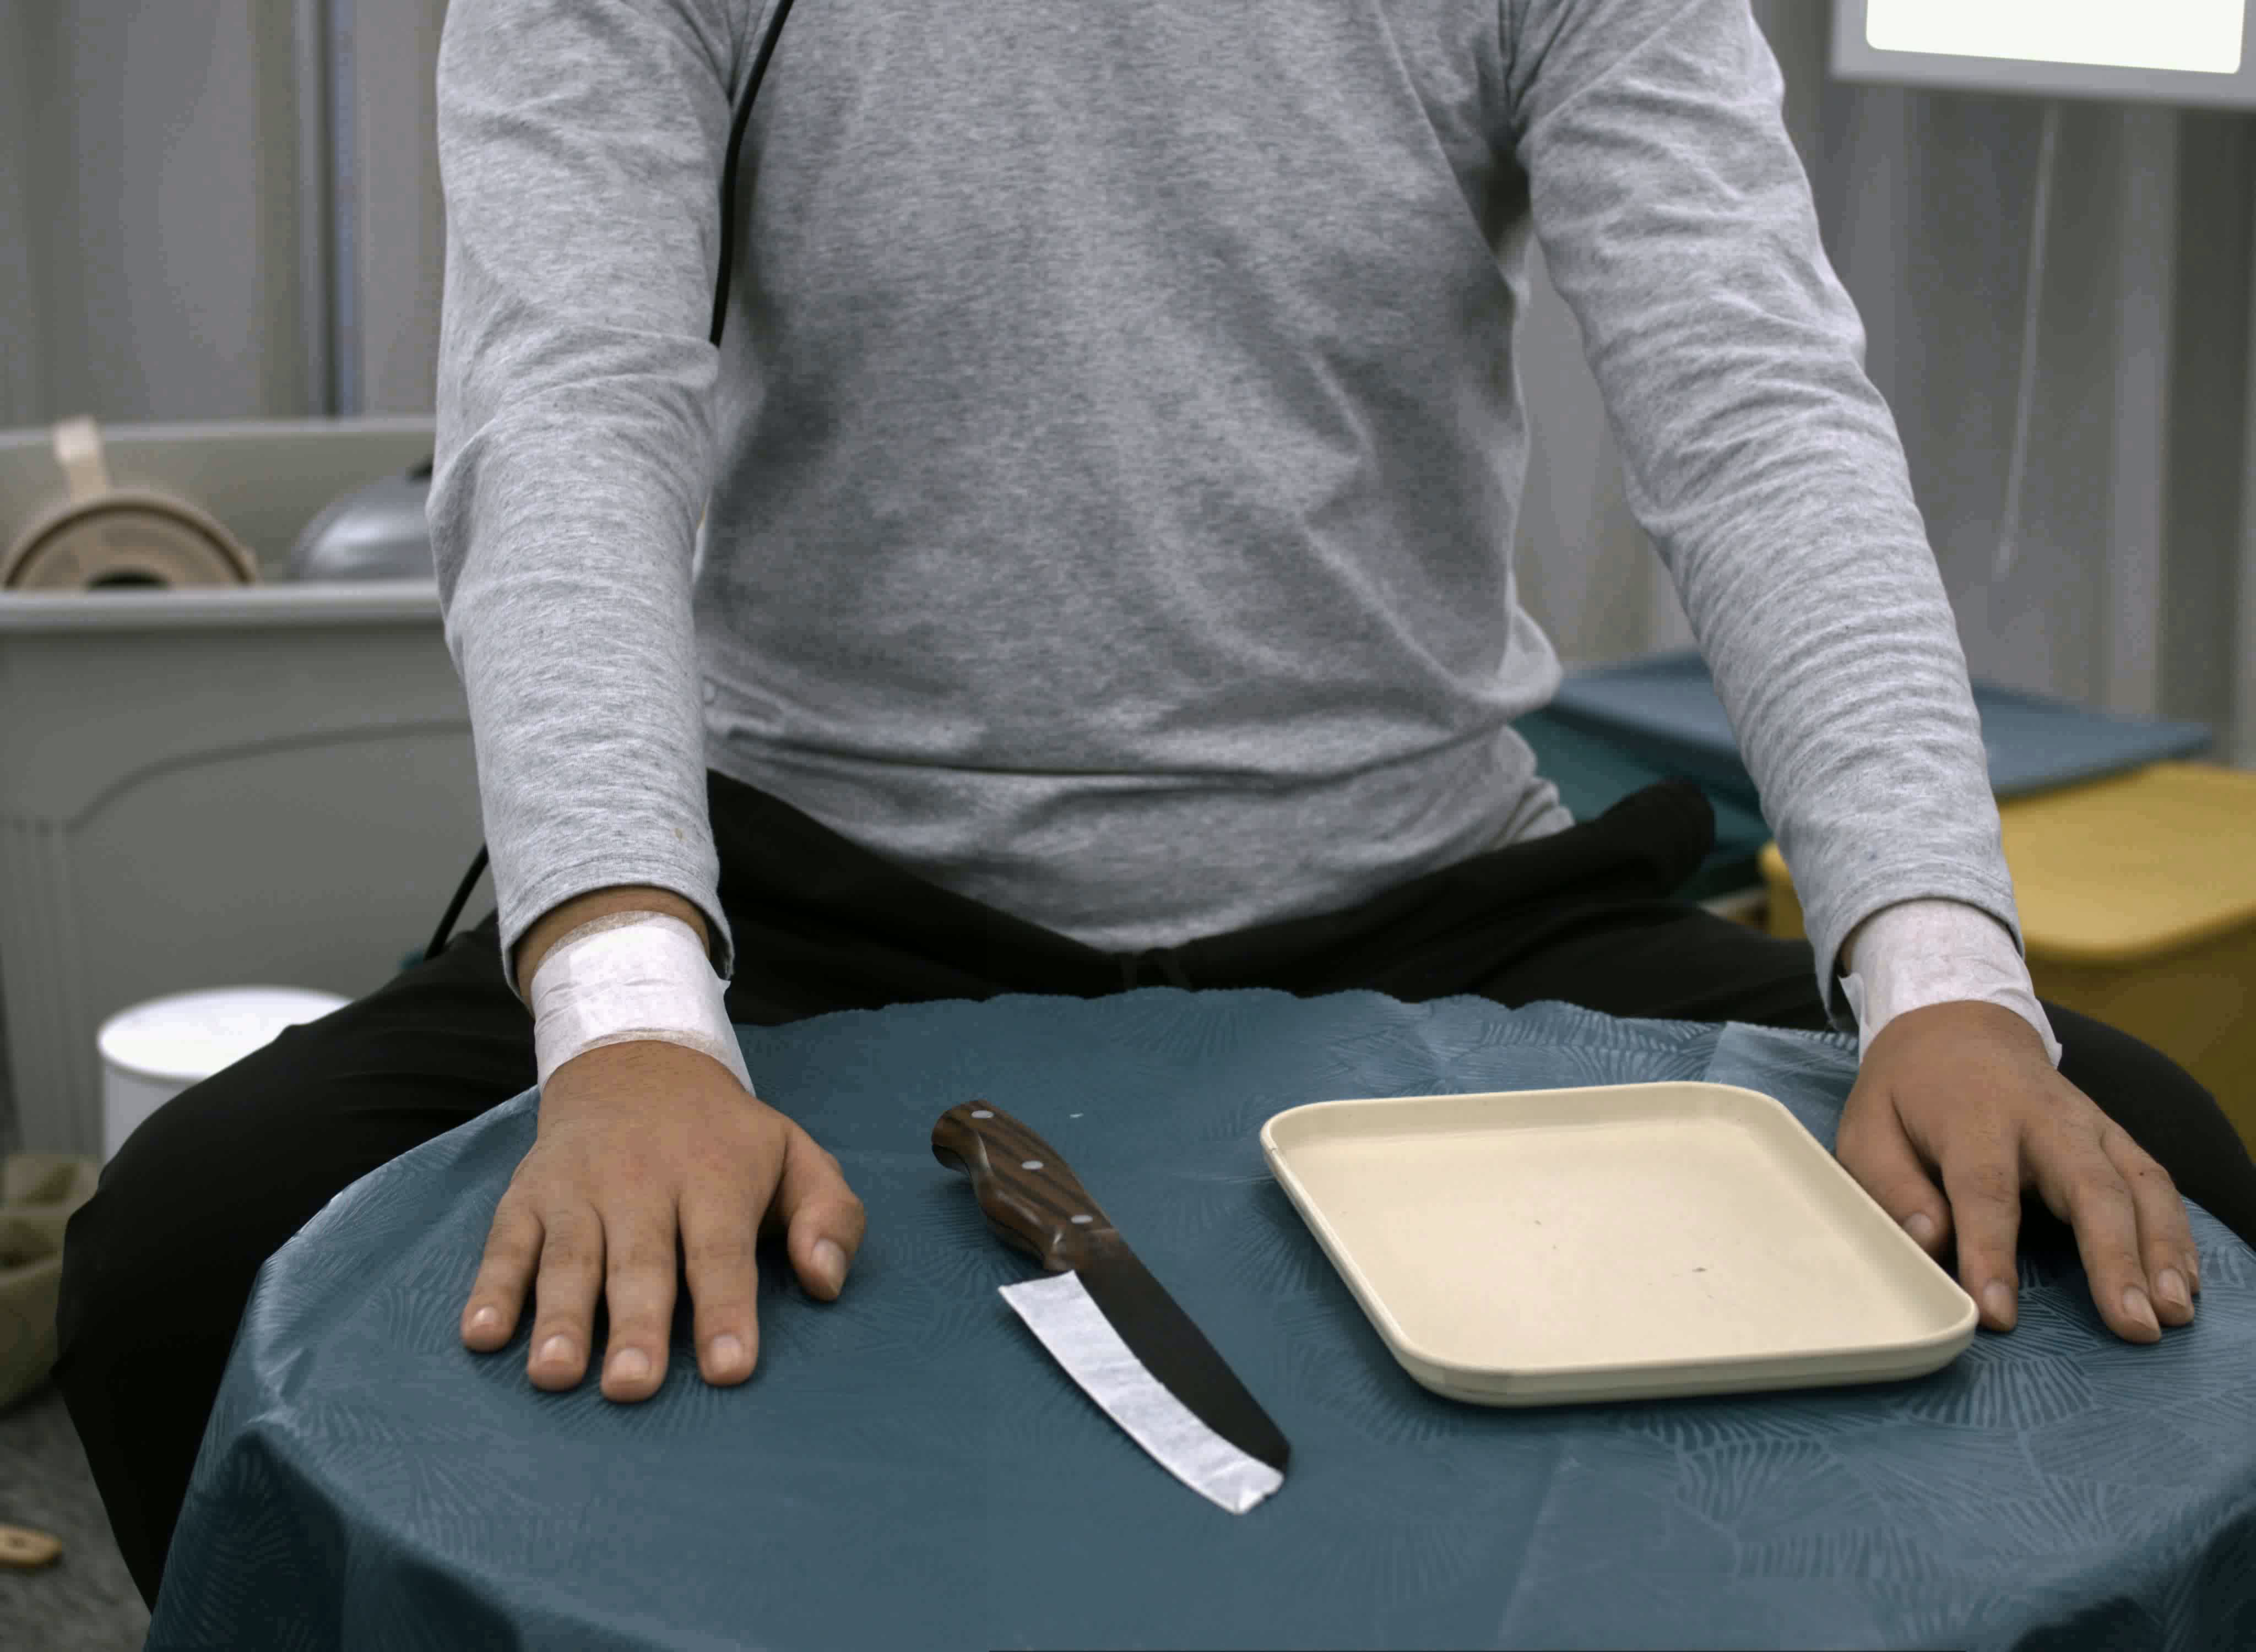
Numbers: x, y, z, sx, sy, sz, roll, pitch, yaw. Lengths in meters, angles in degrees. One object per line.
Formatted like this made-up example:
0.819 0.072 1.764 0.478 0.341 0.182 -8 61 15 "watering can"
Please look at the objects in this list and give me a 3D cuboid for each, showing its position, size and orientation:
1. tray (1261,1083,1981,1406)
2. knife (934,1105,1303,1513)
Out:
0.141 0.122 1.561 0.171 0.017 0.237 -2 15 -10 "tray"
-0.008 0.137 1.508 0.050 0.020 0.286 -9 20 -15 "knife"
